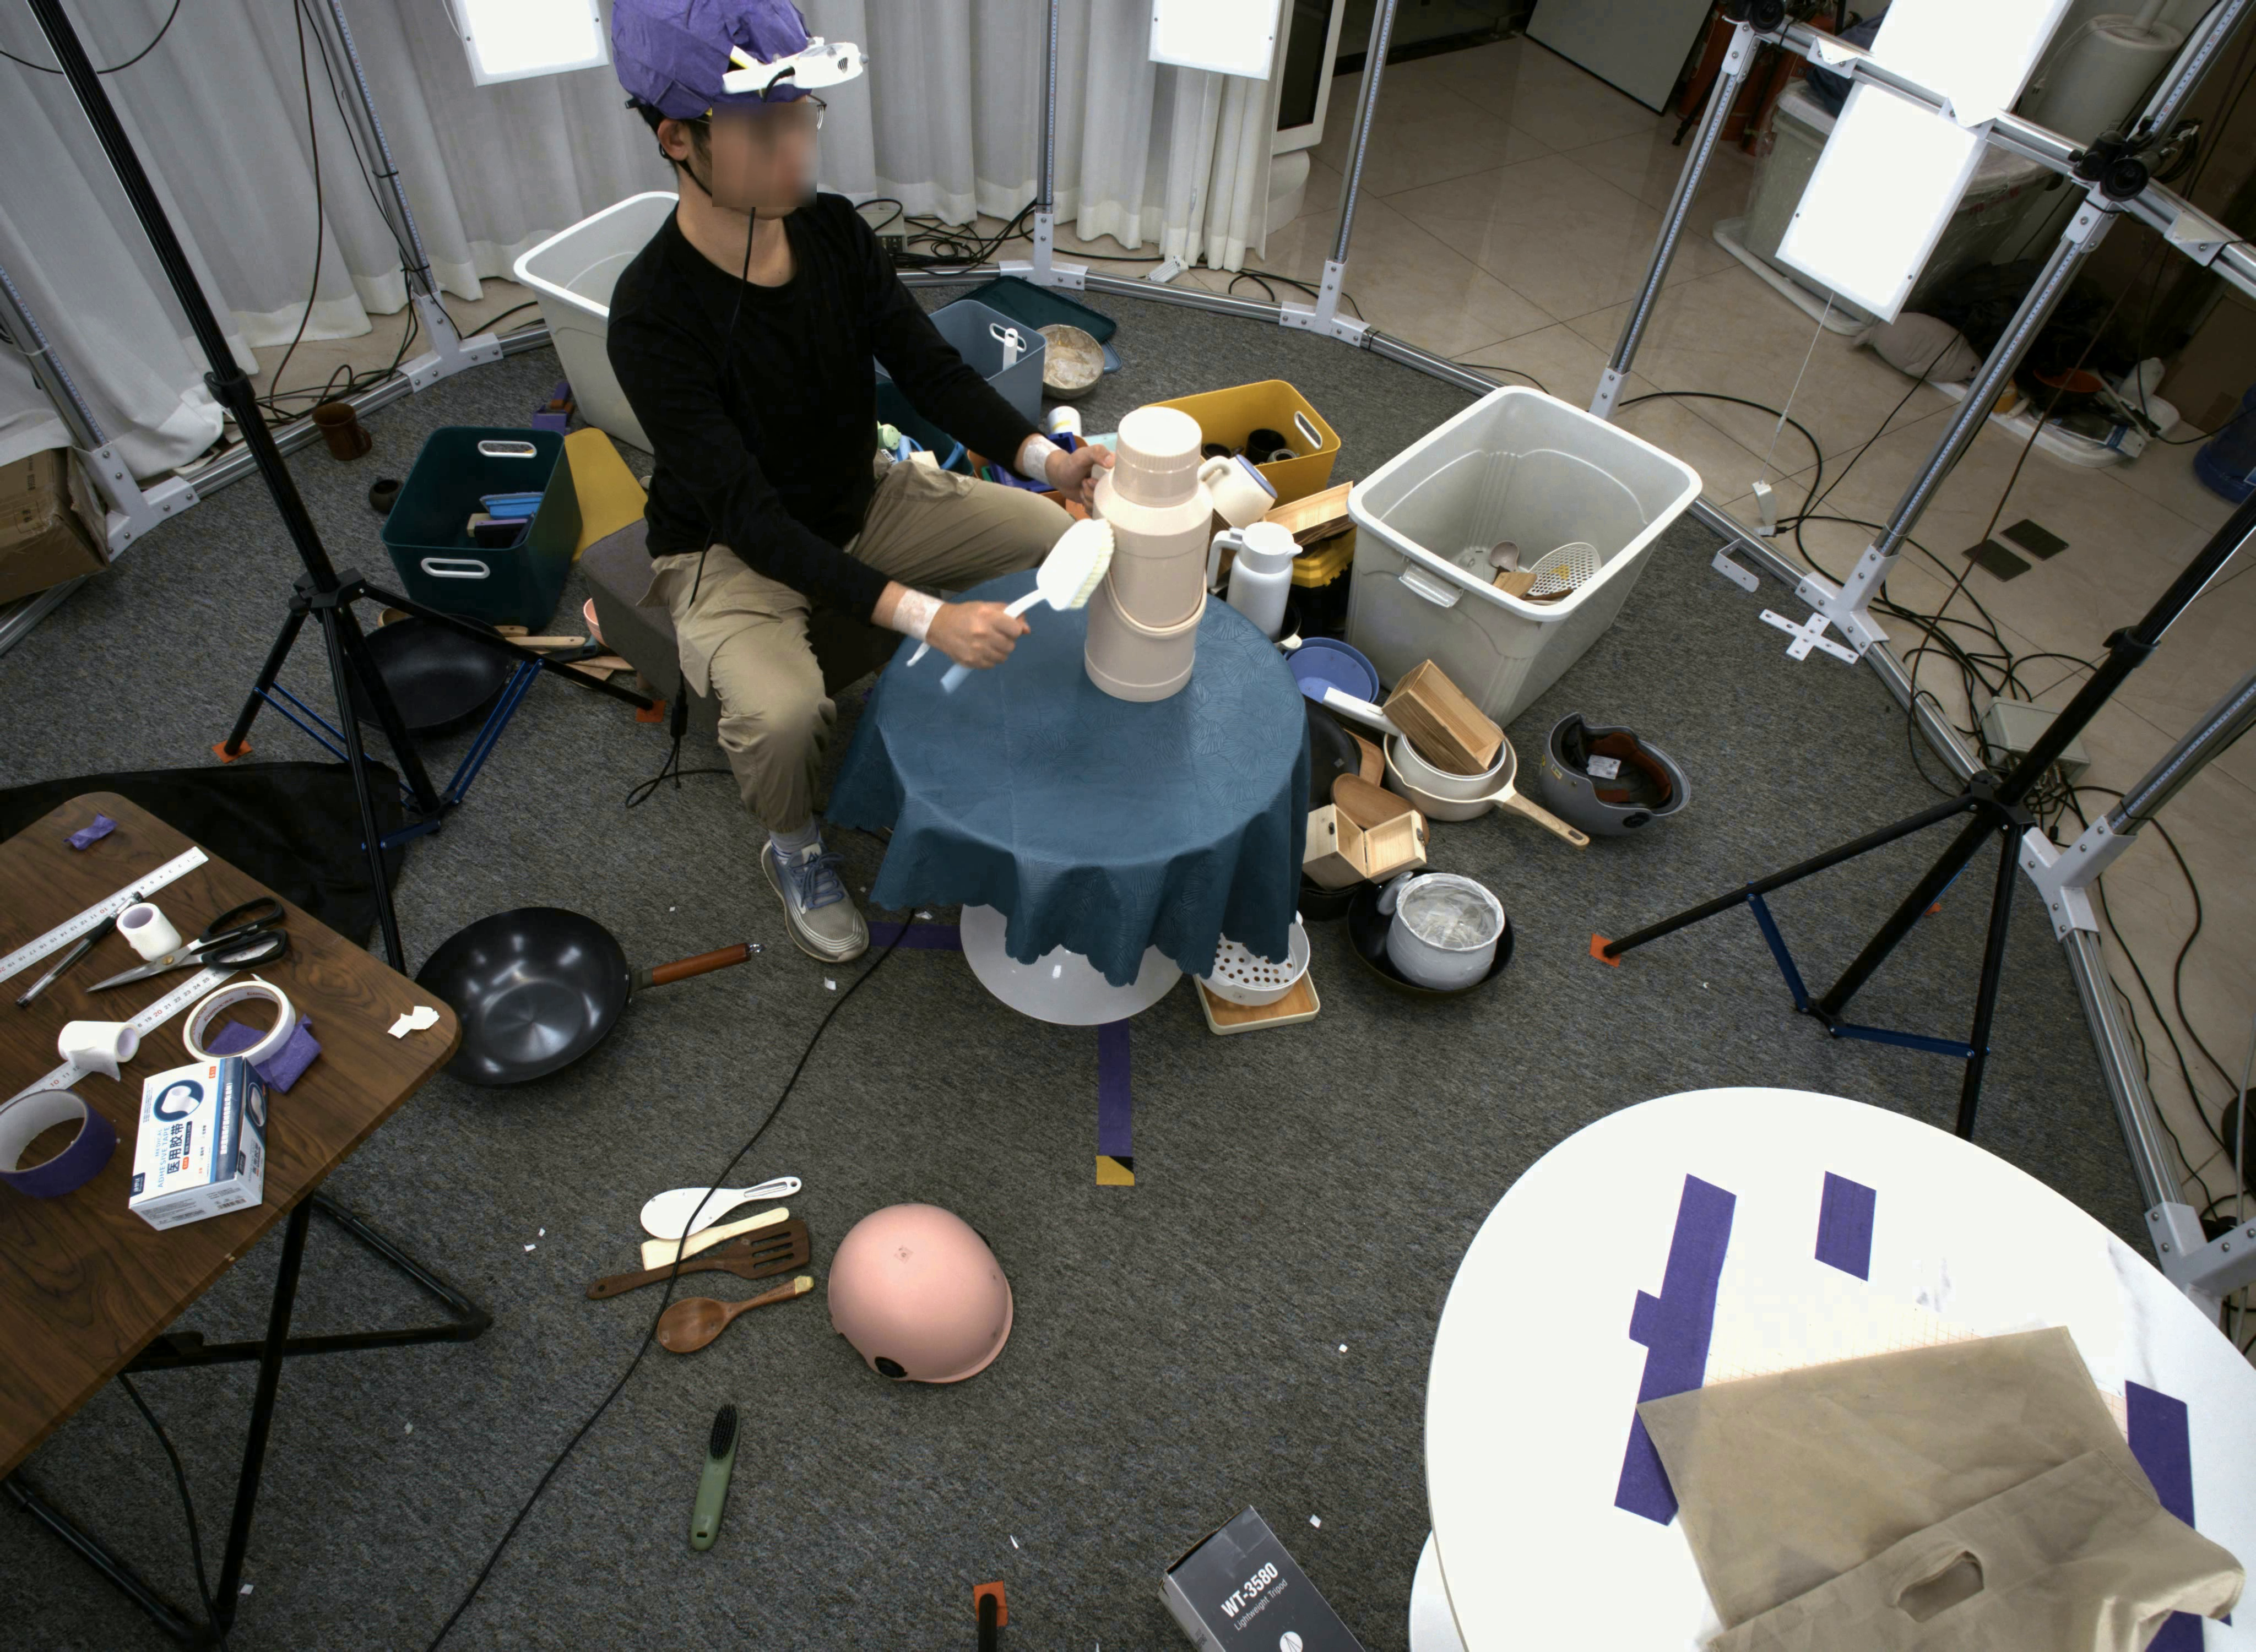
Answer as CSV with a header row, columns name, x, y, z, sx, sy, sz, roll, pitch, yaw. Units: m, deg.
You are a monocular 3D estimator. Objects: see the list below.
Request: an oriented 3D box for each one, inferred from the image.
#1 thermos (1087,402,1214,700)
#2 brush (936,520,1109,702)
name,x,y,z,sx,sy,sz,roll,pitch,yaw
thermos,0.021,-0.373,1.739,0.176,0.396,0.211,-30,58,-25
brush,-0.132,-0.276,1.683,0.083,0.322,0.085,34,27,-22
